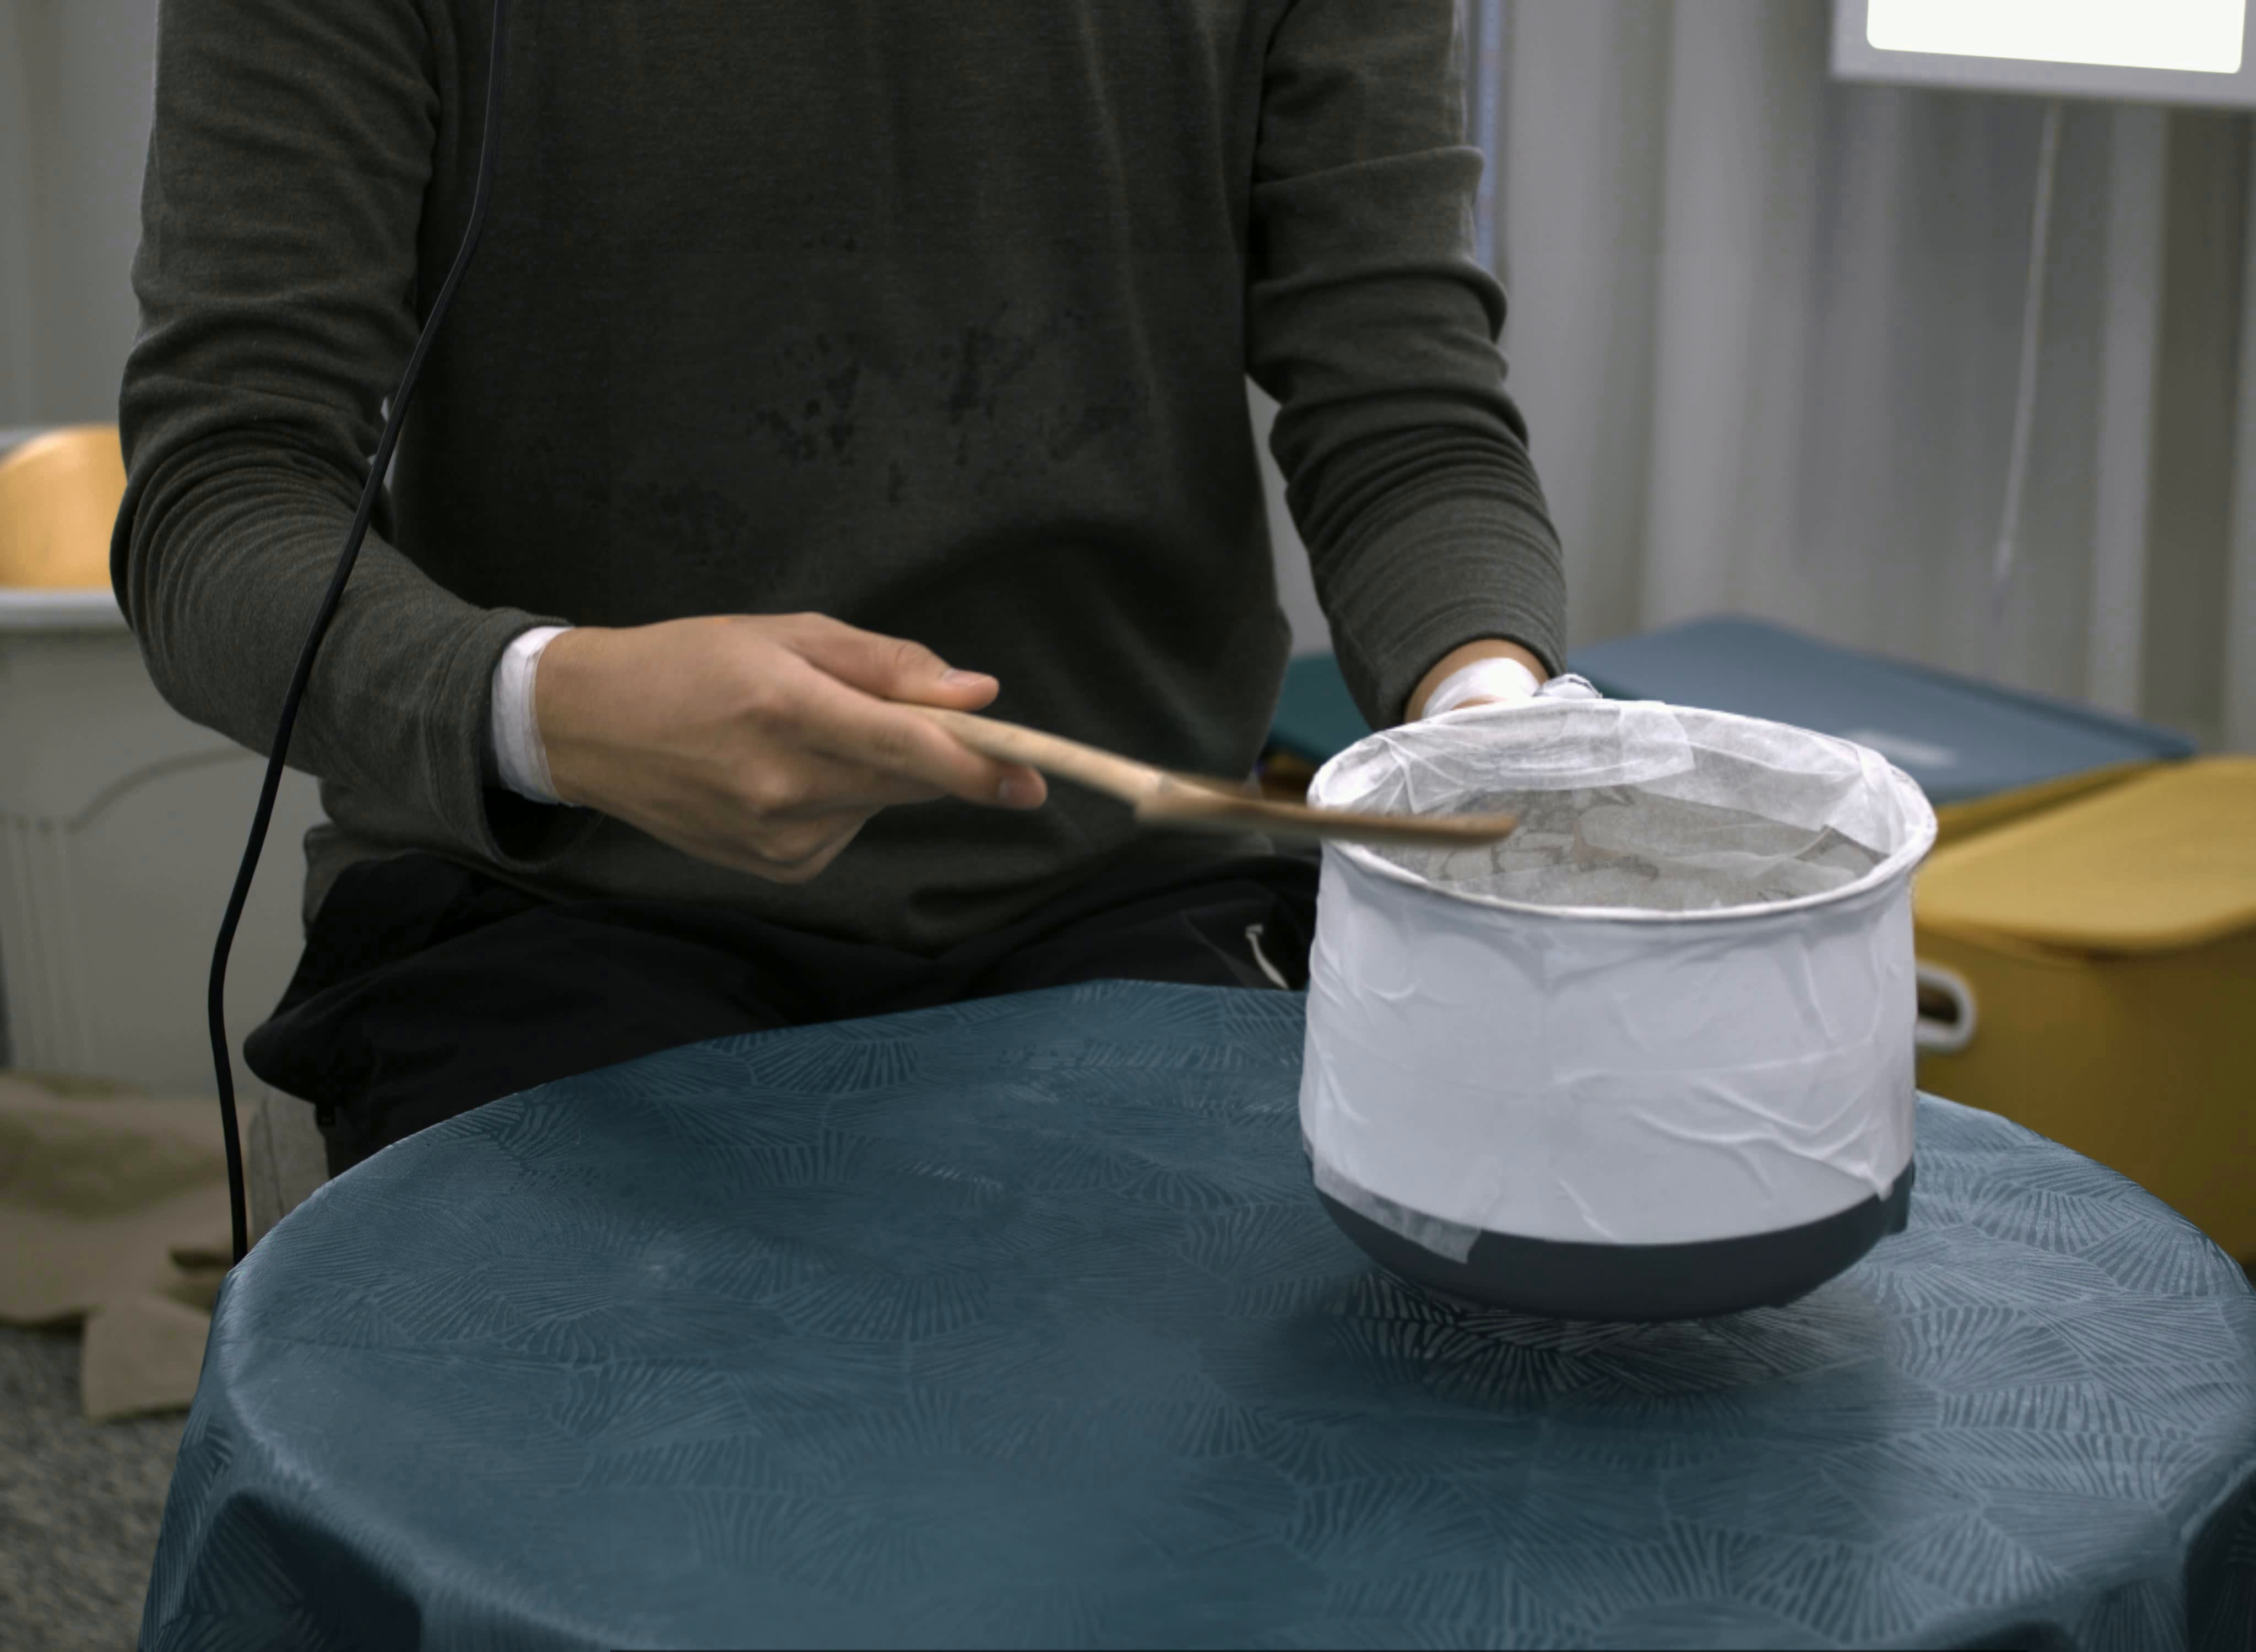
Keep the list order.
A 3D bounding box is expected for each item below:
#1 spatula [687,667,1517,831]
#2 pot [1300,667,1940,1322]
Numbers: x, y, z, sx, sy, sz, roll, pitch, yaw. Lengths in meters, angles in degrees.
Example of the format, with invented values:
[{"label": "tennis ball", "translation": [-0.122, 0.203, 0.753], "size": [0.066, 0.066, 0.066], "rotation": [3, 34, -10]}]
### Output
[{"label": "spatula", "translation": [-0.032, -0.027, 1.497], "size": [0.096, 0.018, 0.386], "rotation": [11, 1, -34]}, {"label": "pot", "translation": [0.135, 0.042, 1.521], "size": [0.178, 0.138, 0.232], "rotation": [-1, 21, -5]}]
